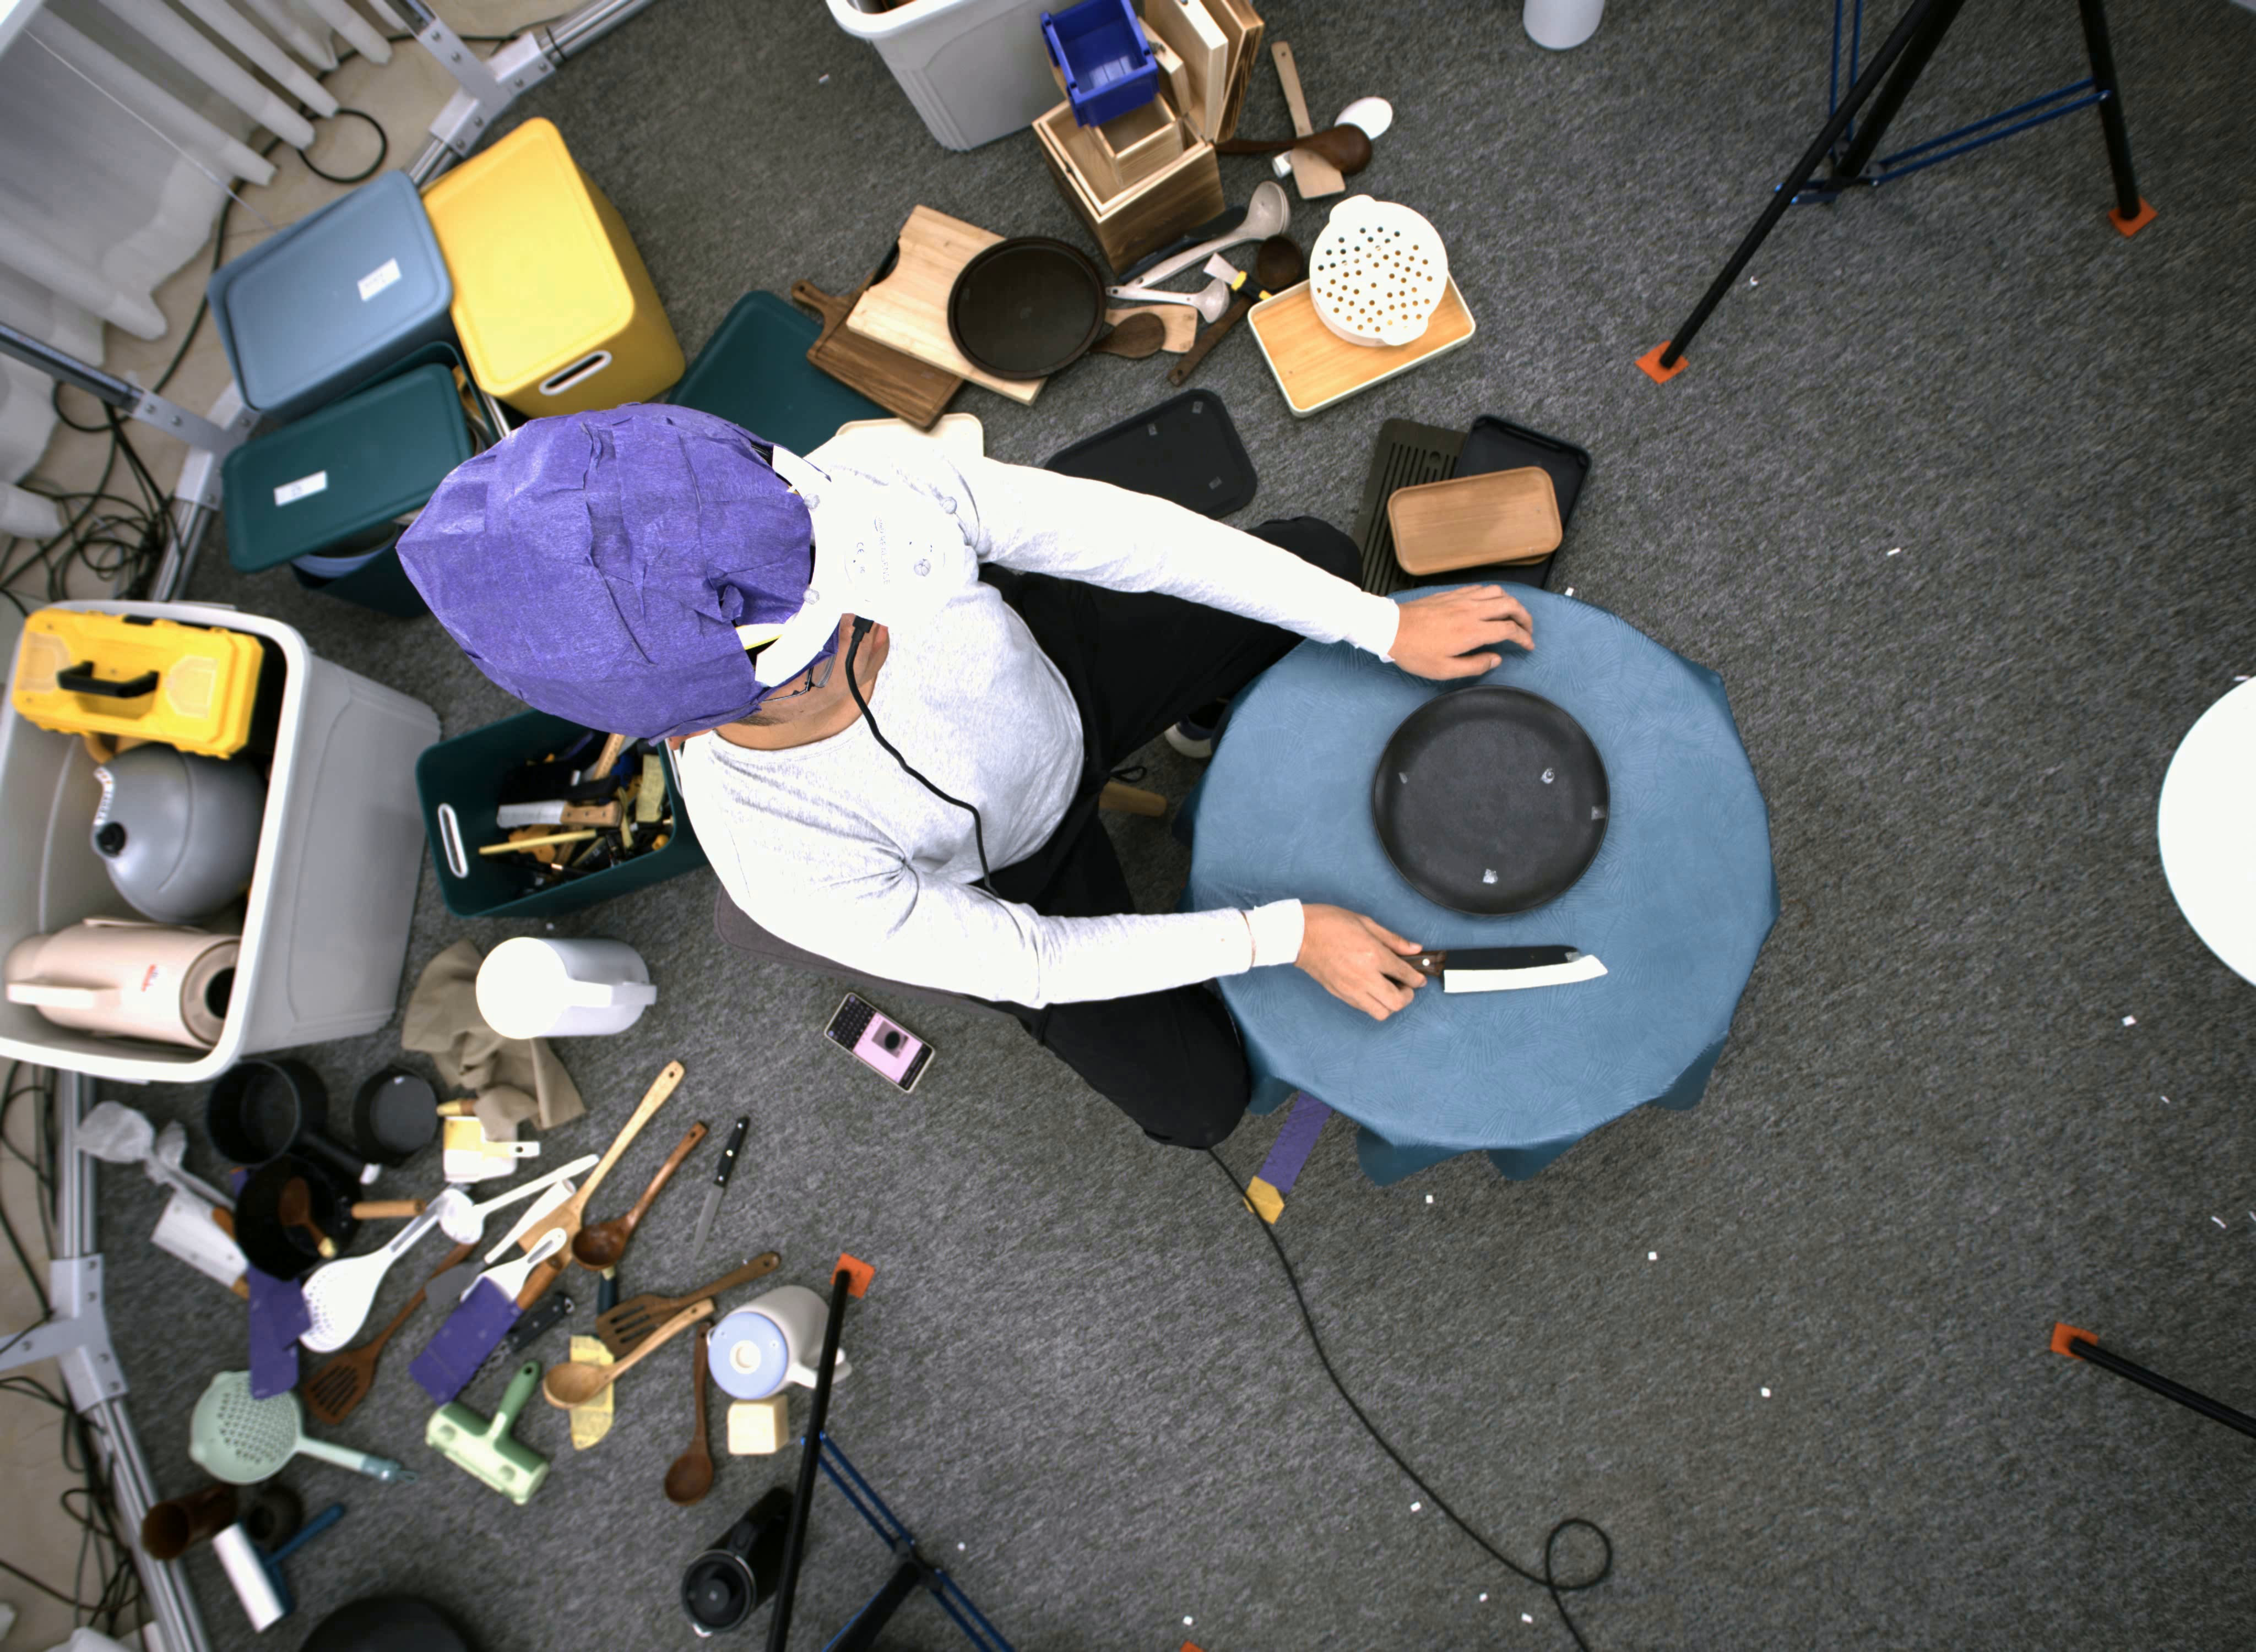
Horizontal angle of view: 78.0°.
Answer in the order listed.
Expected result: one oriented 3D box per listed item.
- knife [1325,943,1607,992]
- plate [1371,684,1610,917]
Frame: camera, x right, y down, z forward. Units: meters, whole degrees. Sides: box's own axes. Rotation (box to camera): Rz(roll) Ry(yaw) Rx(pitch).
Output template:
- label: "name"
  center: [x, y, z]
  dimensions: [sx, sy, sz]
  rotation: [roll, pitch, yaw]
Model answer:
- label: "knife"
  center: [0.350, 0.145, 1.432]
  dimensions: [0.290, 0.020, 0.050]
  rotation: [-1, 90, 7]
- label: "plate"
  center: [0.377, -0.029, 1.434]
  dimensions: [0.245, 0.023, 0.243]
  rotation: [-1, 87, 11]
